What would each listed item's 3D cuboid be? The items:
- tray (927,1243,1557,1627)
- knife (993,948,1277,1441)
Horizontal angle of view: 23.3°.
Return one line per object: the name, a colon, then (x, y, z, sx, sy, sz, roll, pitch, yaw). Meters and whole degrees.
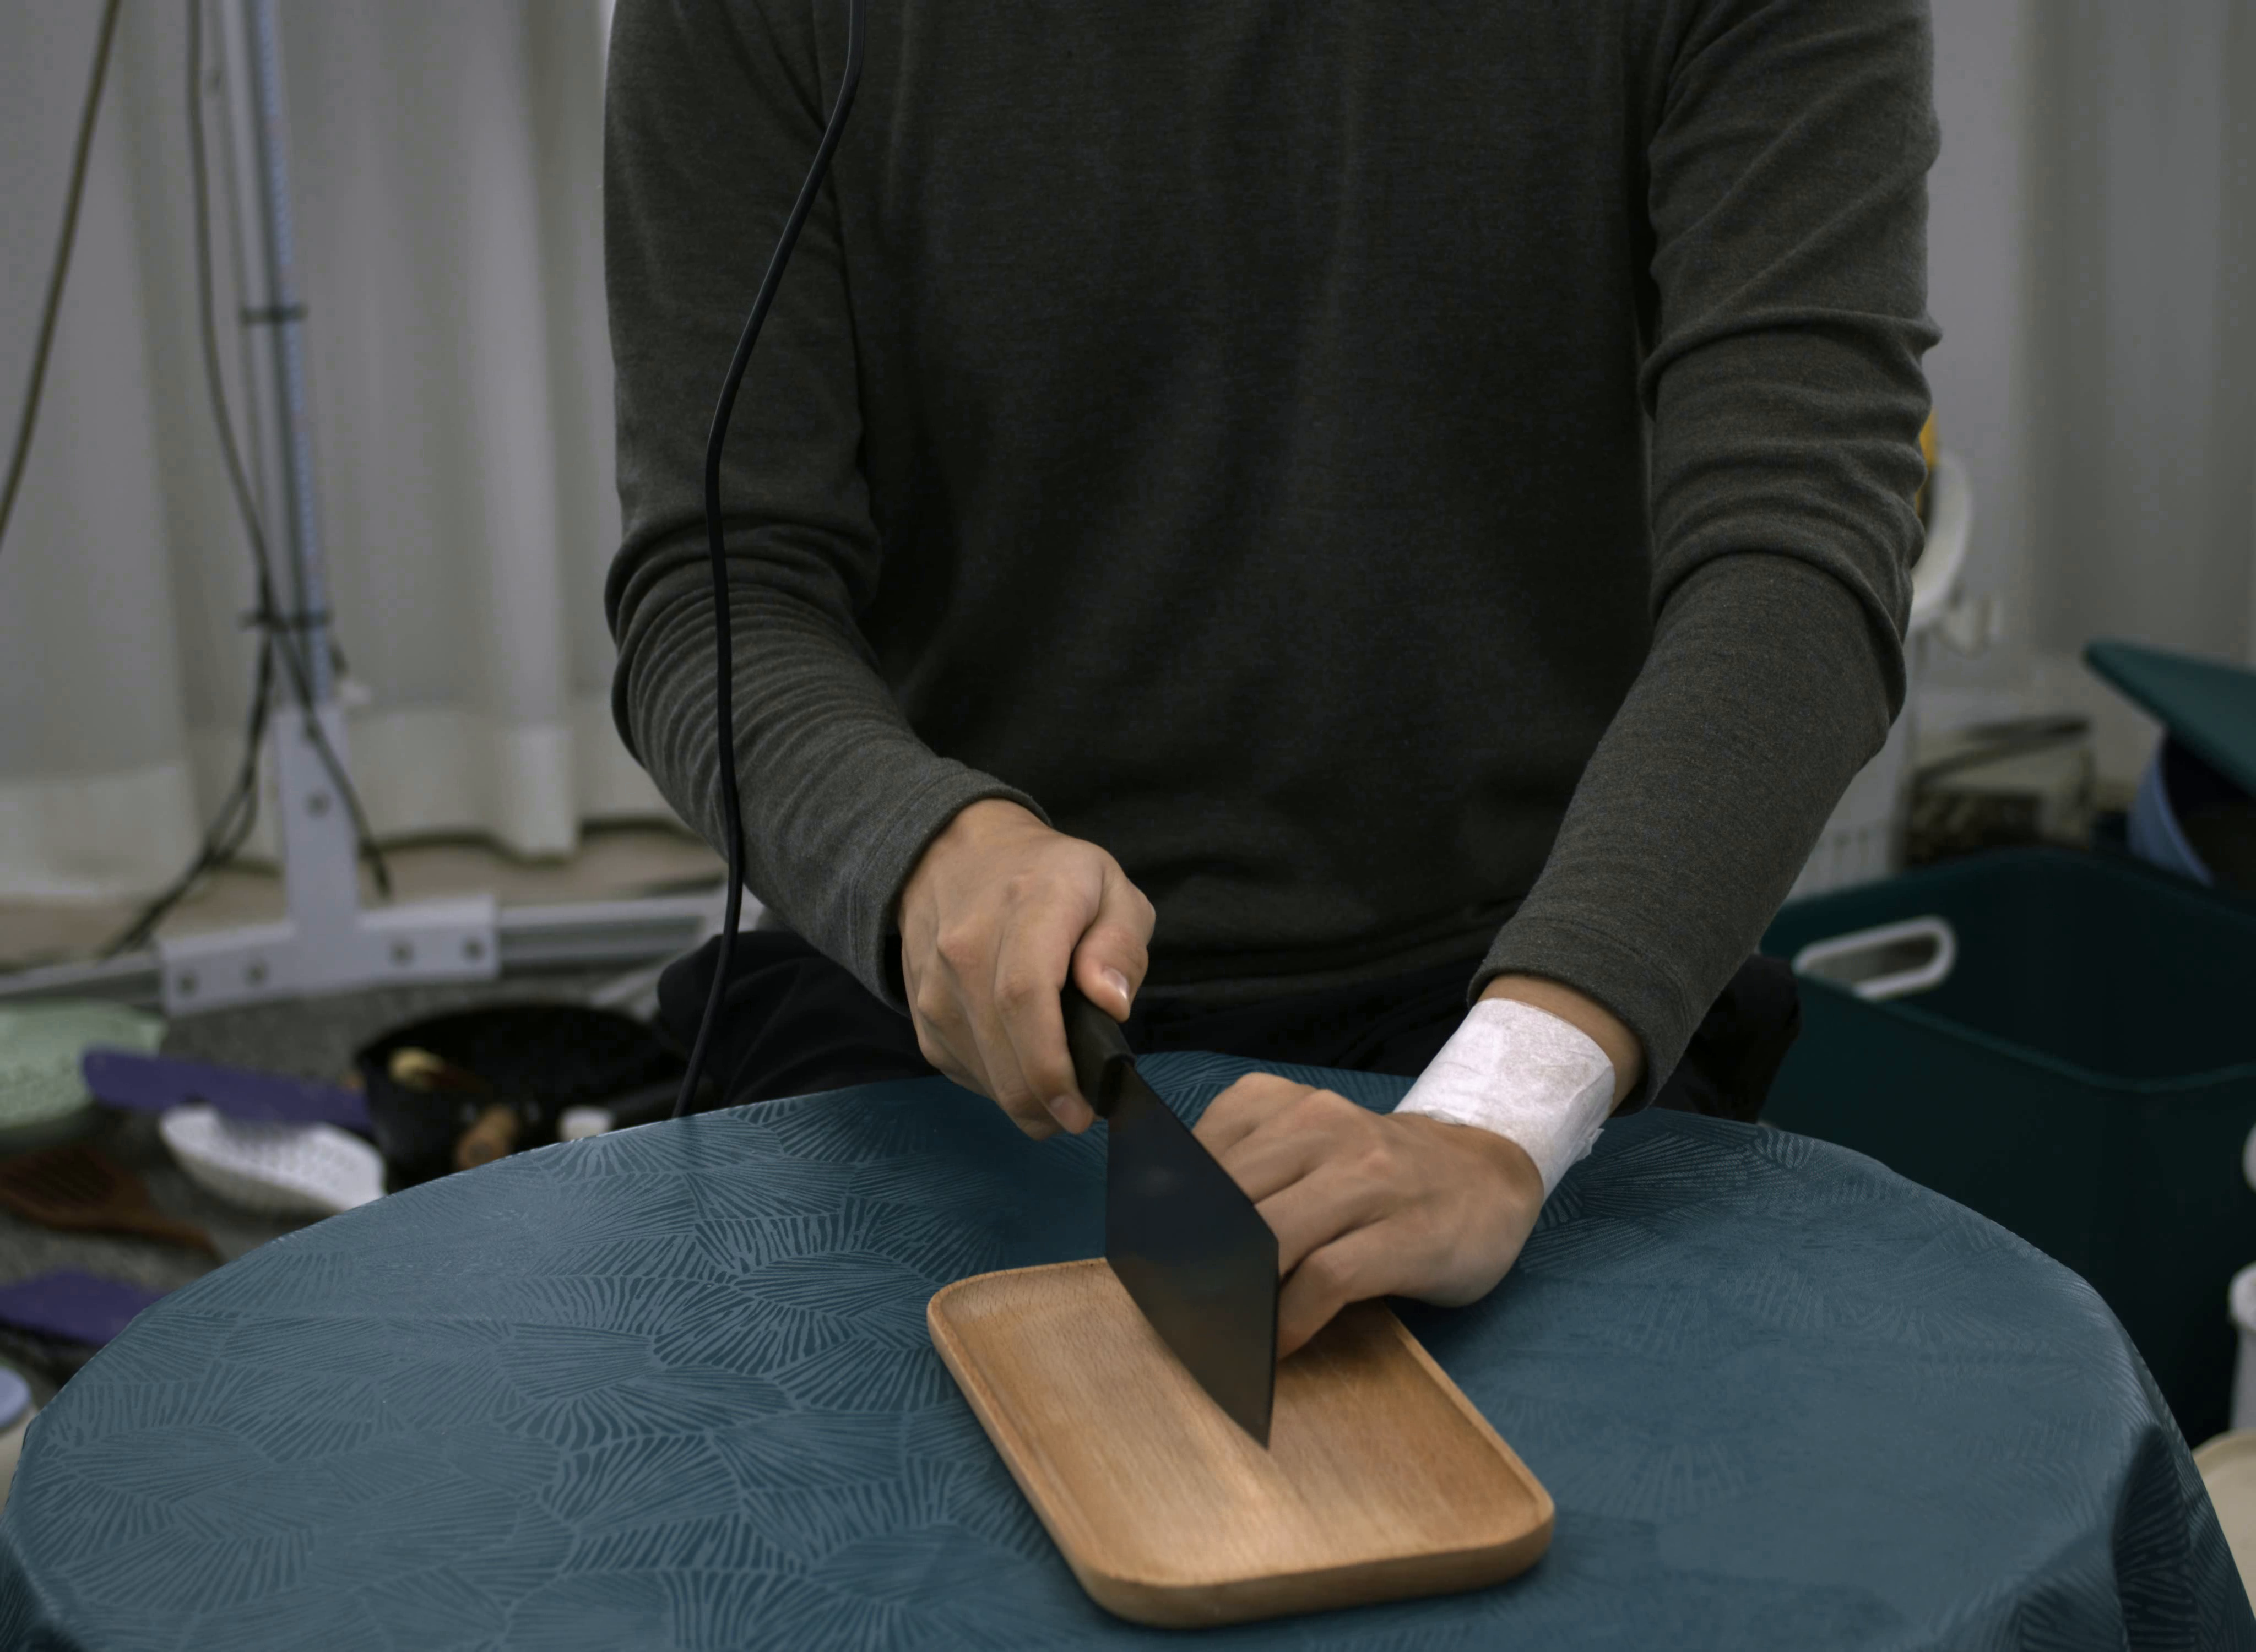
tray: (0.026, 0.164, 1.498, 0.130, 0.023, 0.252, -3, 13, -12)
knife: (0.002, 0.097, 1.560, 0.021, 0.080, 0.305, 1, 17, -14)
